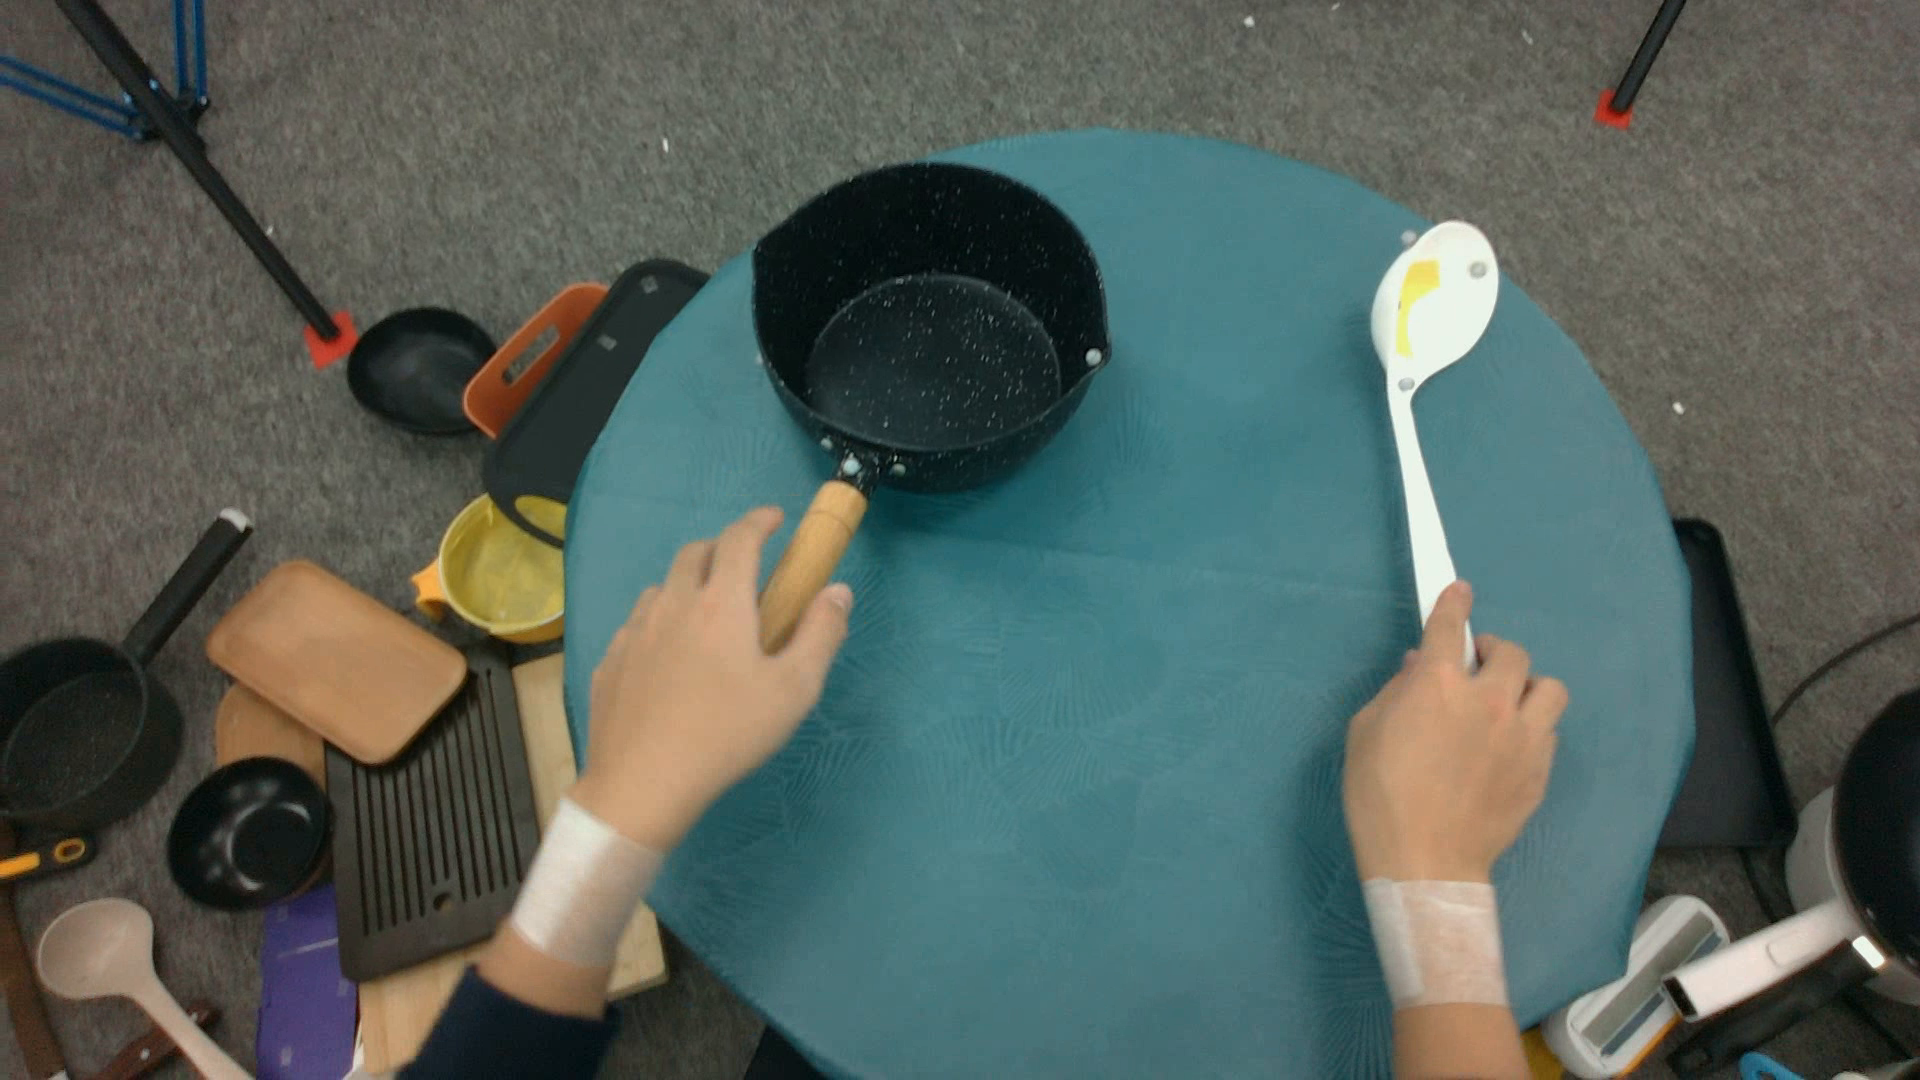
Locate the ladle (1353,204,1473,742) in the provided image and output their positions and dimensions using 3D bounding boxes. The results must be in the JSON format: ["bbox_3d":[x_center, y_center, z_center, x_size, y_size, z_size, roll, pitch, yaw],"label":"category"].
[{"bbox_3d":[0.250,-0.040,0.732,0.069,0.090,0.294,-14,61,34],"label":"ladle"}]

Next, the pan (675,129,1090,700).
[{"bbox_3d":[-0.055,-0.059,0.708,0.207,0.108,0.344,18,65,6],"label":"pan"}]
